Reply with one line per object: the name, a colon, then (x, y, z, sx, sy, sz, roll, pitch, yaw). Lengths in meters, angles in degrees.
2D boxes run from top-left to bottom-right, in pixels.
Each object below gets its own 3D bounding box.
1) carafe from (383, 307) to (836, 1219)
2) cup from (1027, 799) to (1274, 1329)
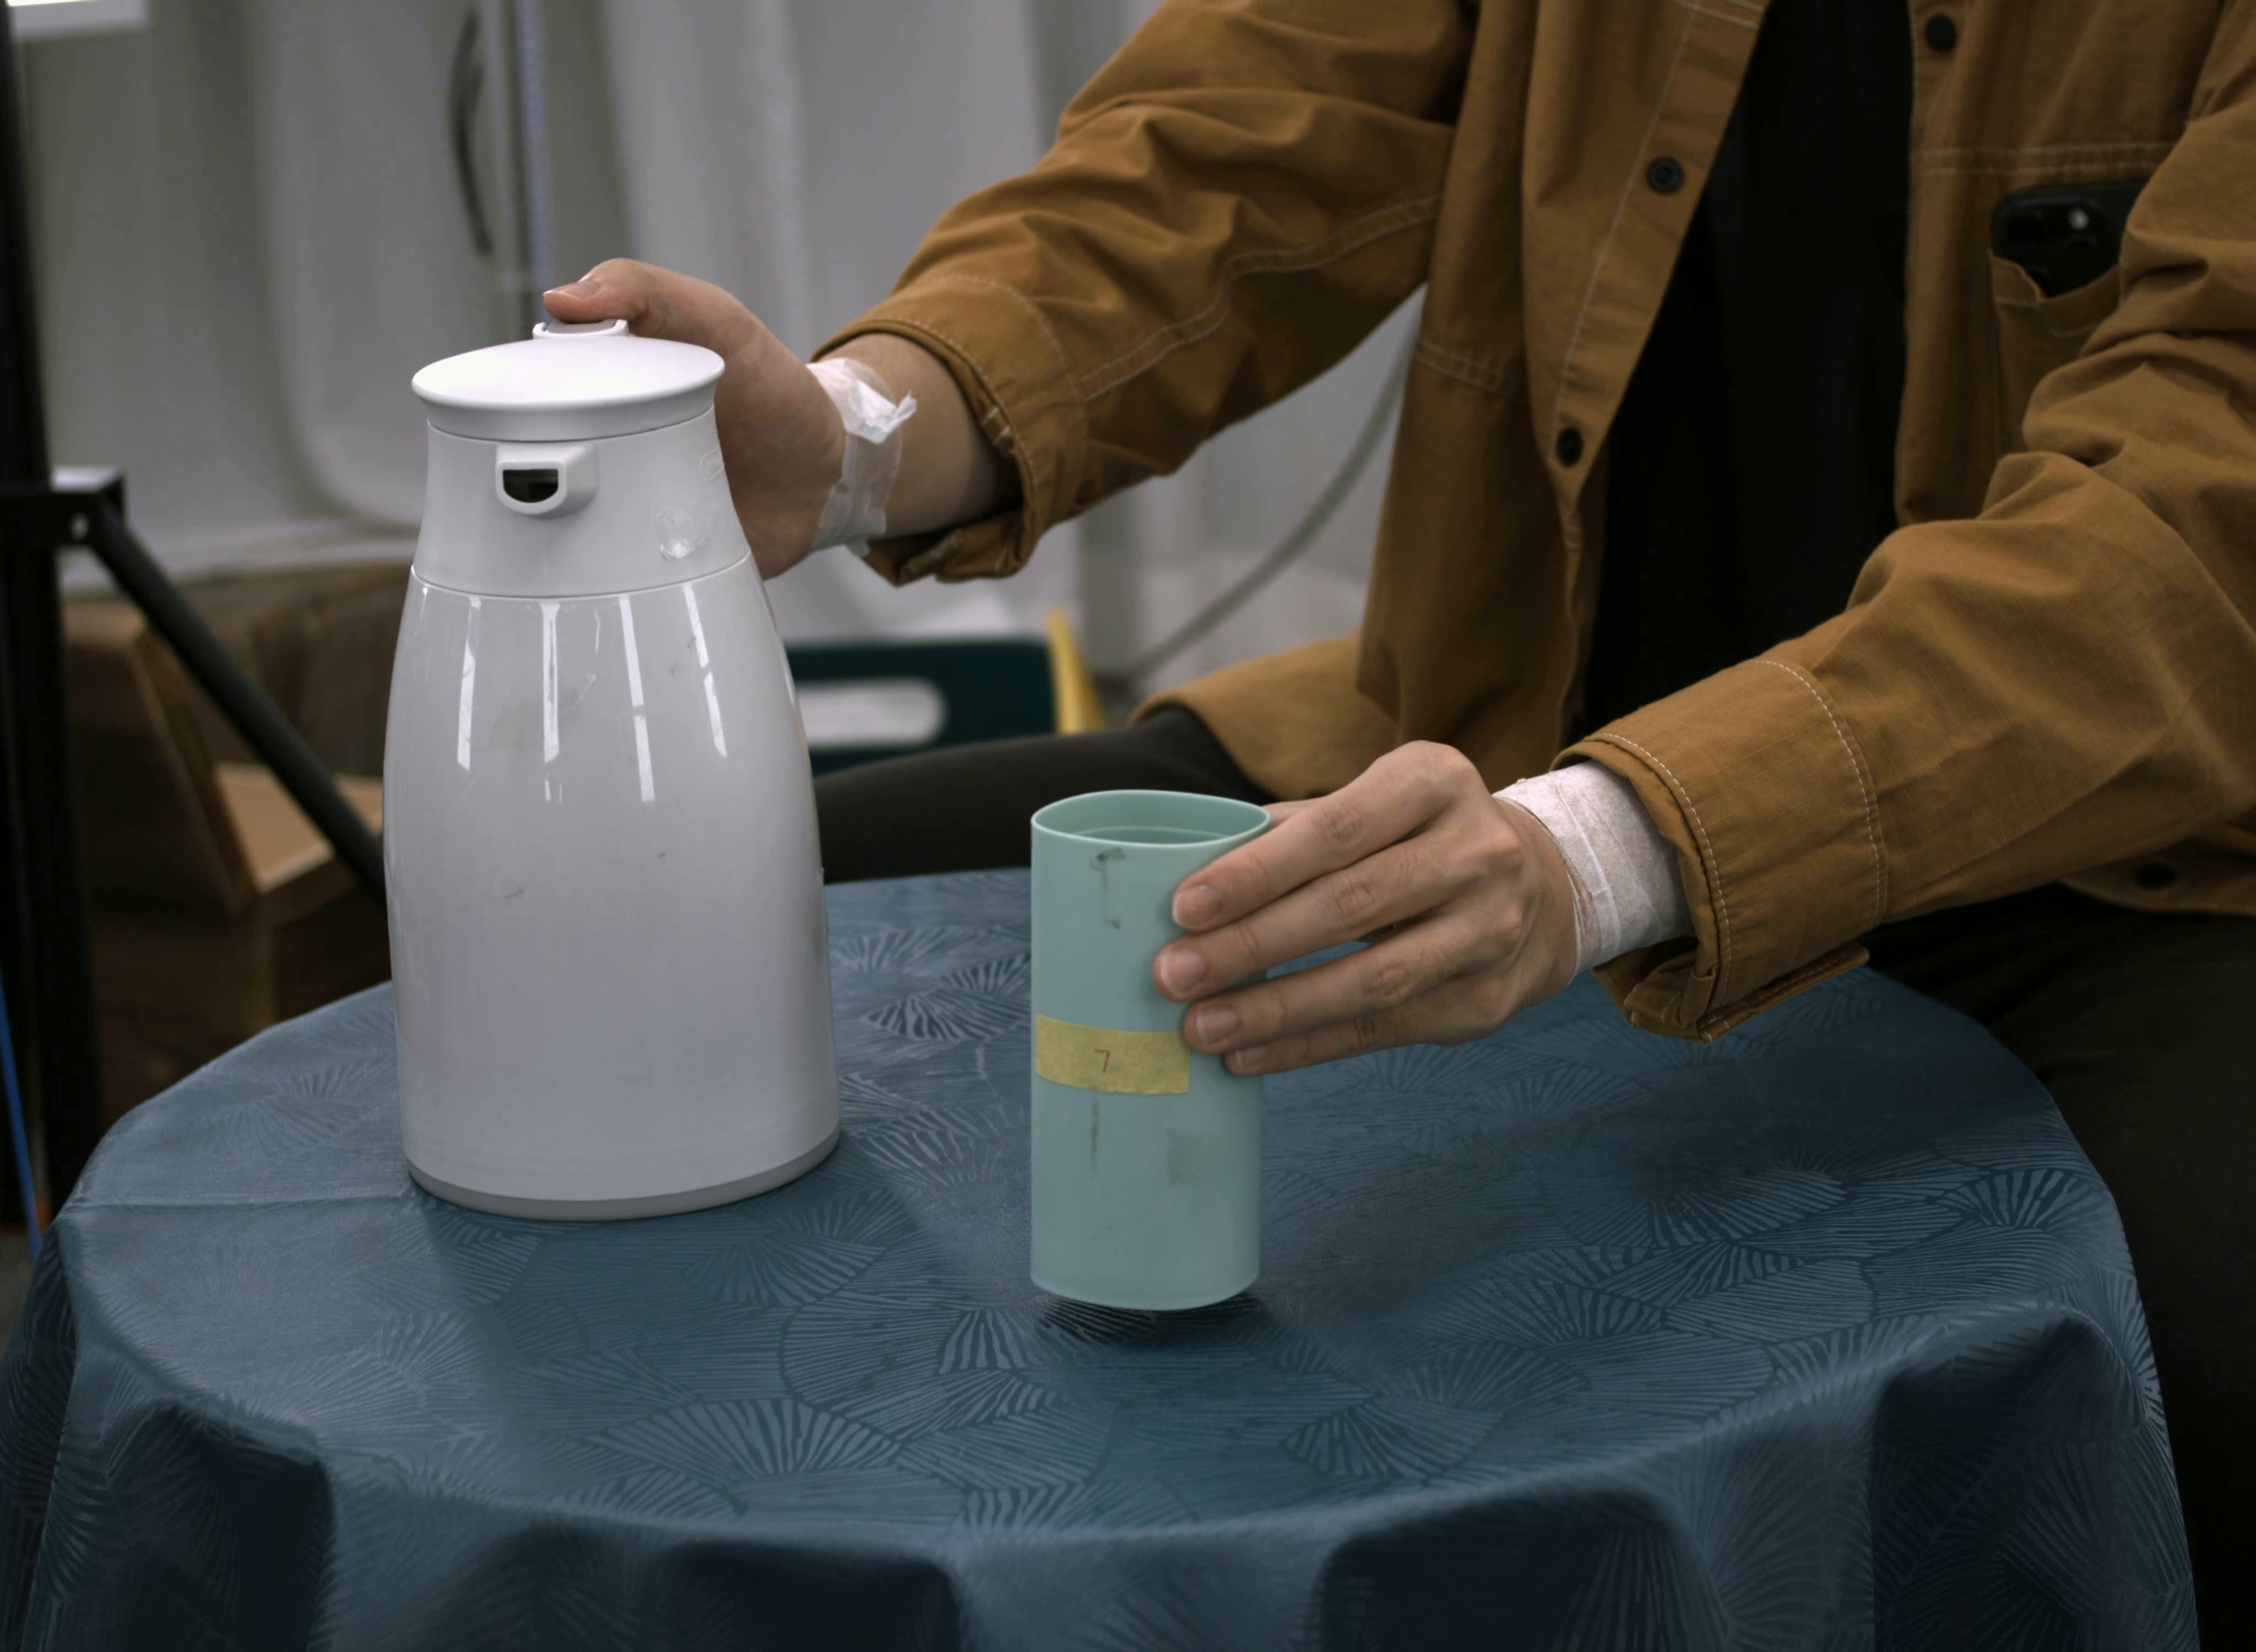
carafe: (-0.158, -0.027, 1.602, 0.132, 0.248, 0.168, -1, 15, 6)
cup: (0.006, 0.063, 1.445, 0.066, 0.132, 0.067, 1, 14, -2)
